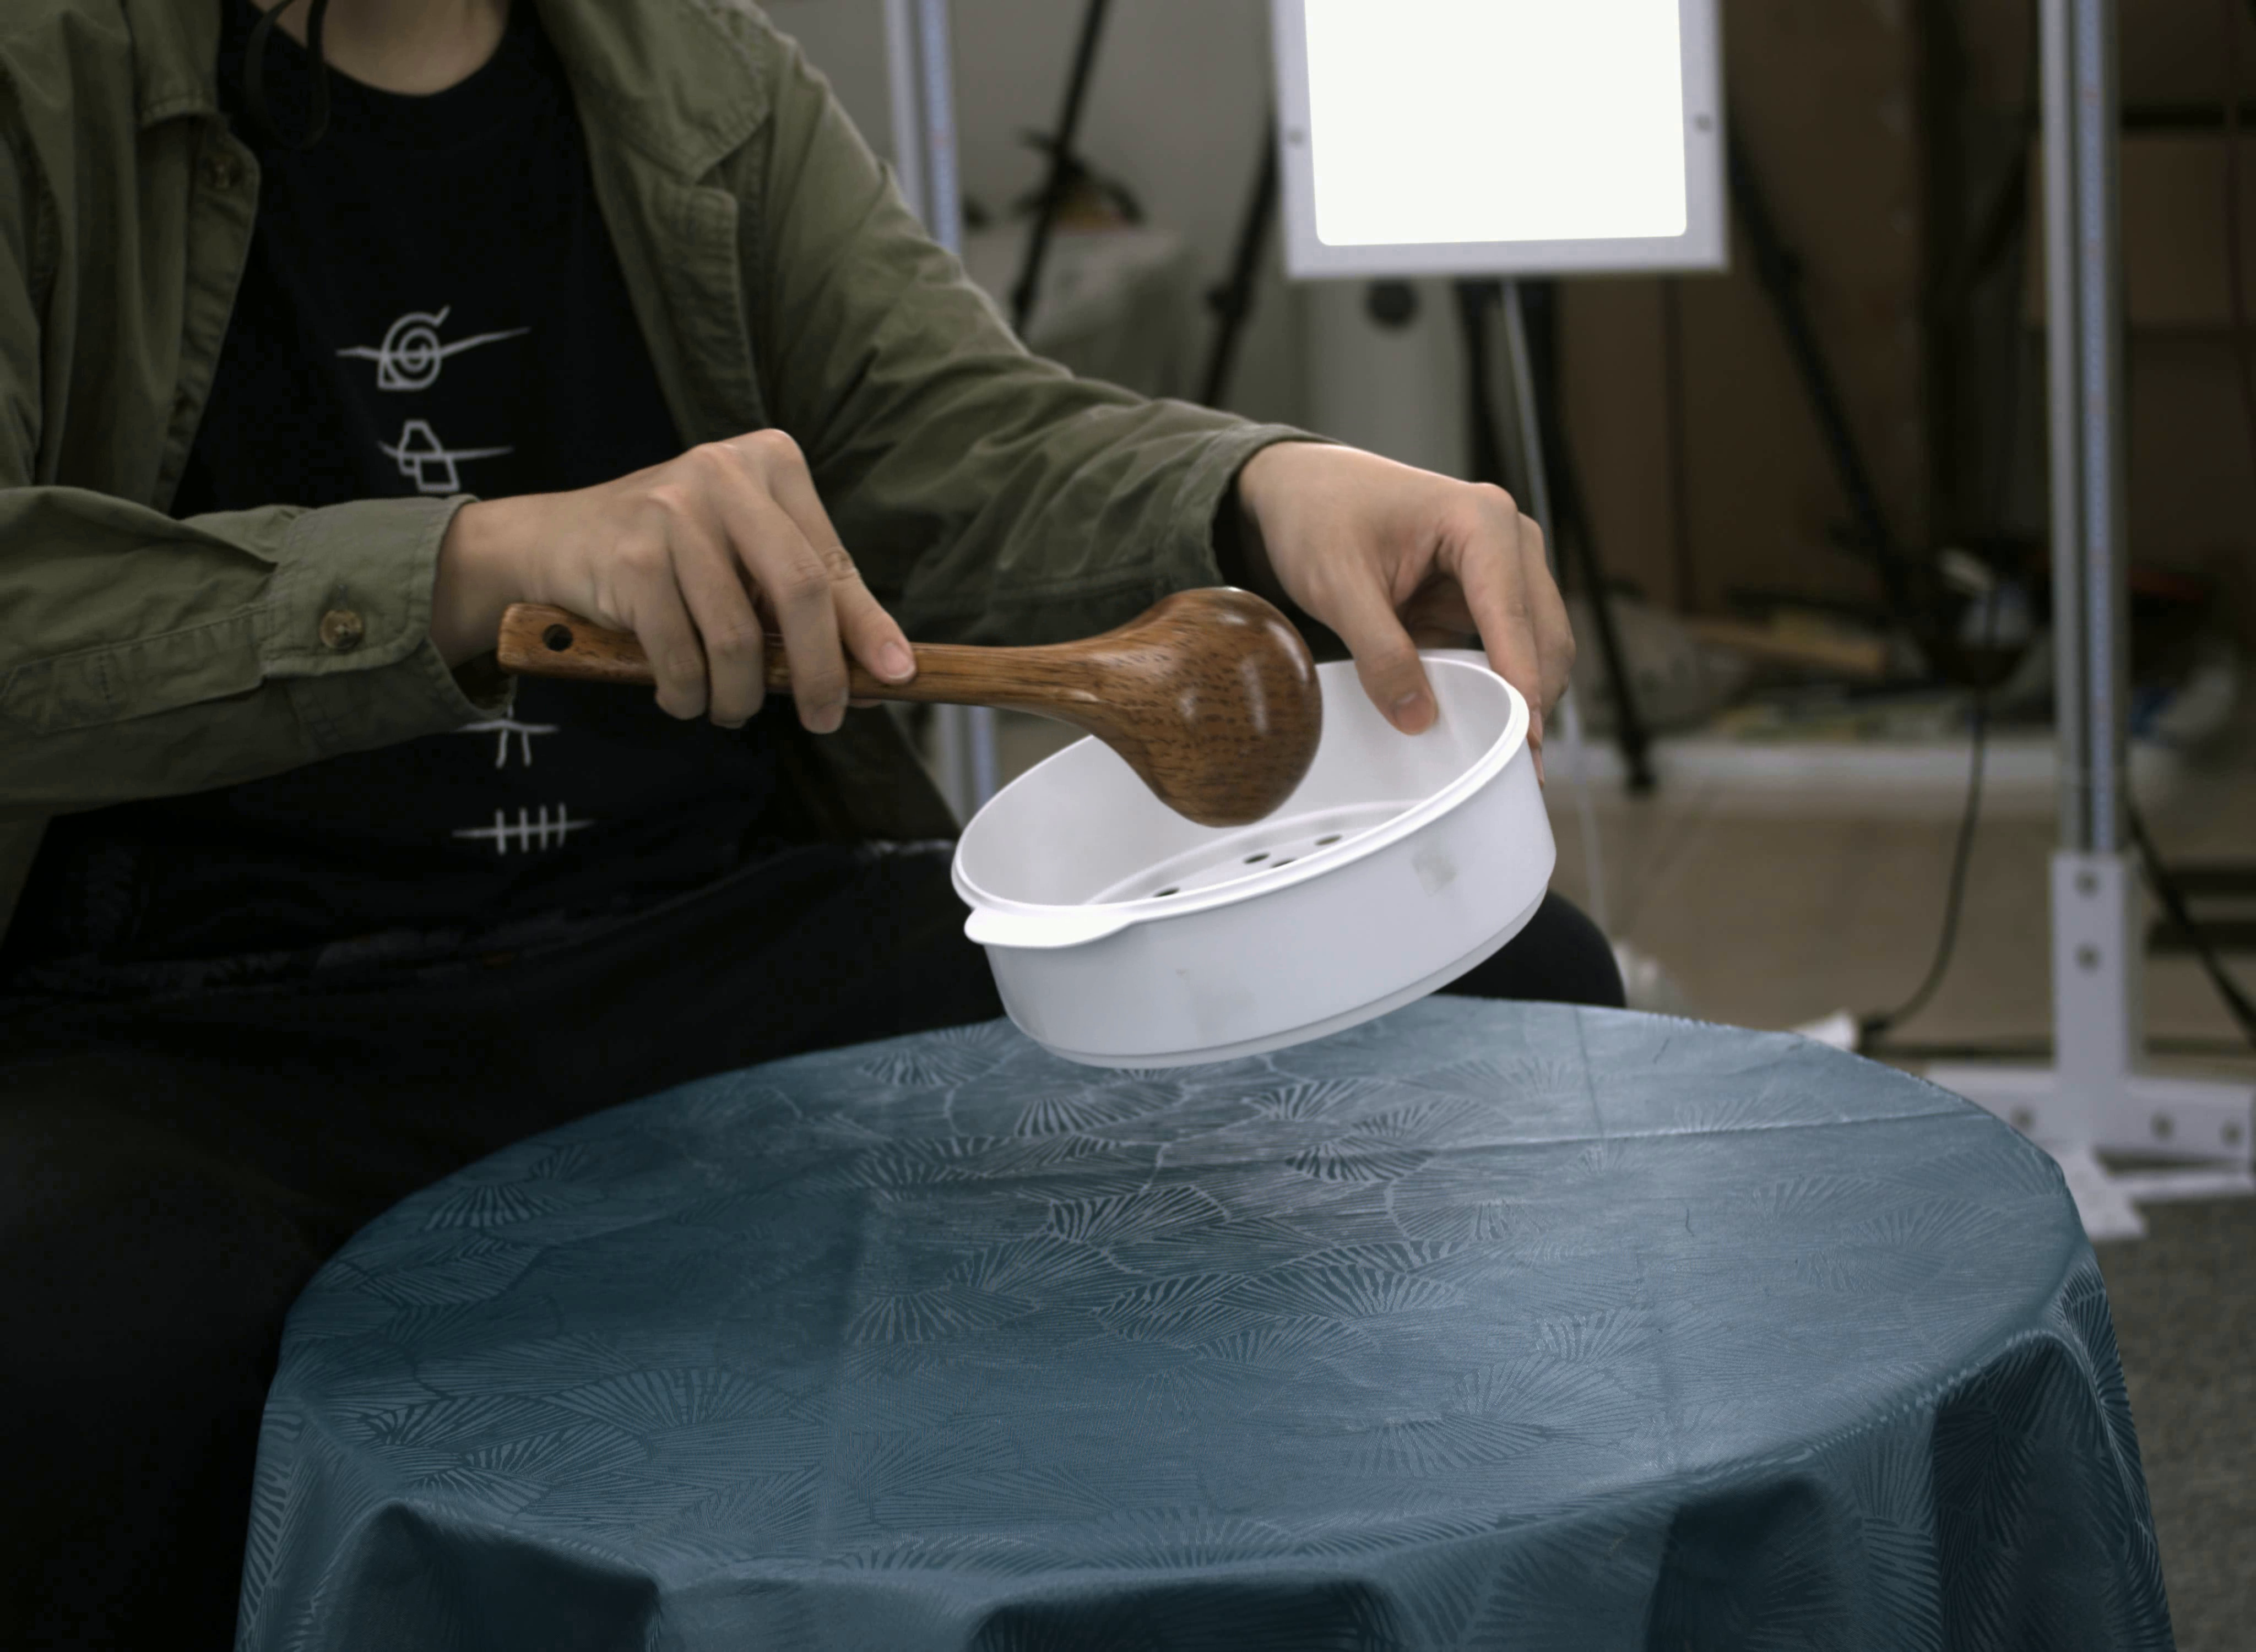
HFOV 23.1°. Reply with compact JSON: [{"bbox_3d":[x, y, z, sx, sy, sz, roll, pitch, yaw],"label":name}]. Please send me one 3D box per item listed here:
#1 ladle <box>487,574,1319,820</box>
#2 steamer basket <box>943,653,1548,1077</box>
[{"bbox_3d":[-0.073,-0.051,1.841,0.276,0.082,0.076,4,-14,12],"label":"ladle"},{"bbox_3d":[0.042,0.015,1.839,0.206,0.069,0.225,4,29,47],"label":"steamer basket"}]
